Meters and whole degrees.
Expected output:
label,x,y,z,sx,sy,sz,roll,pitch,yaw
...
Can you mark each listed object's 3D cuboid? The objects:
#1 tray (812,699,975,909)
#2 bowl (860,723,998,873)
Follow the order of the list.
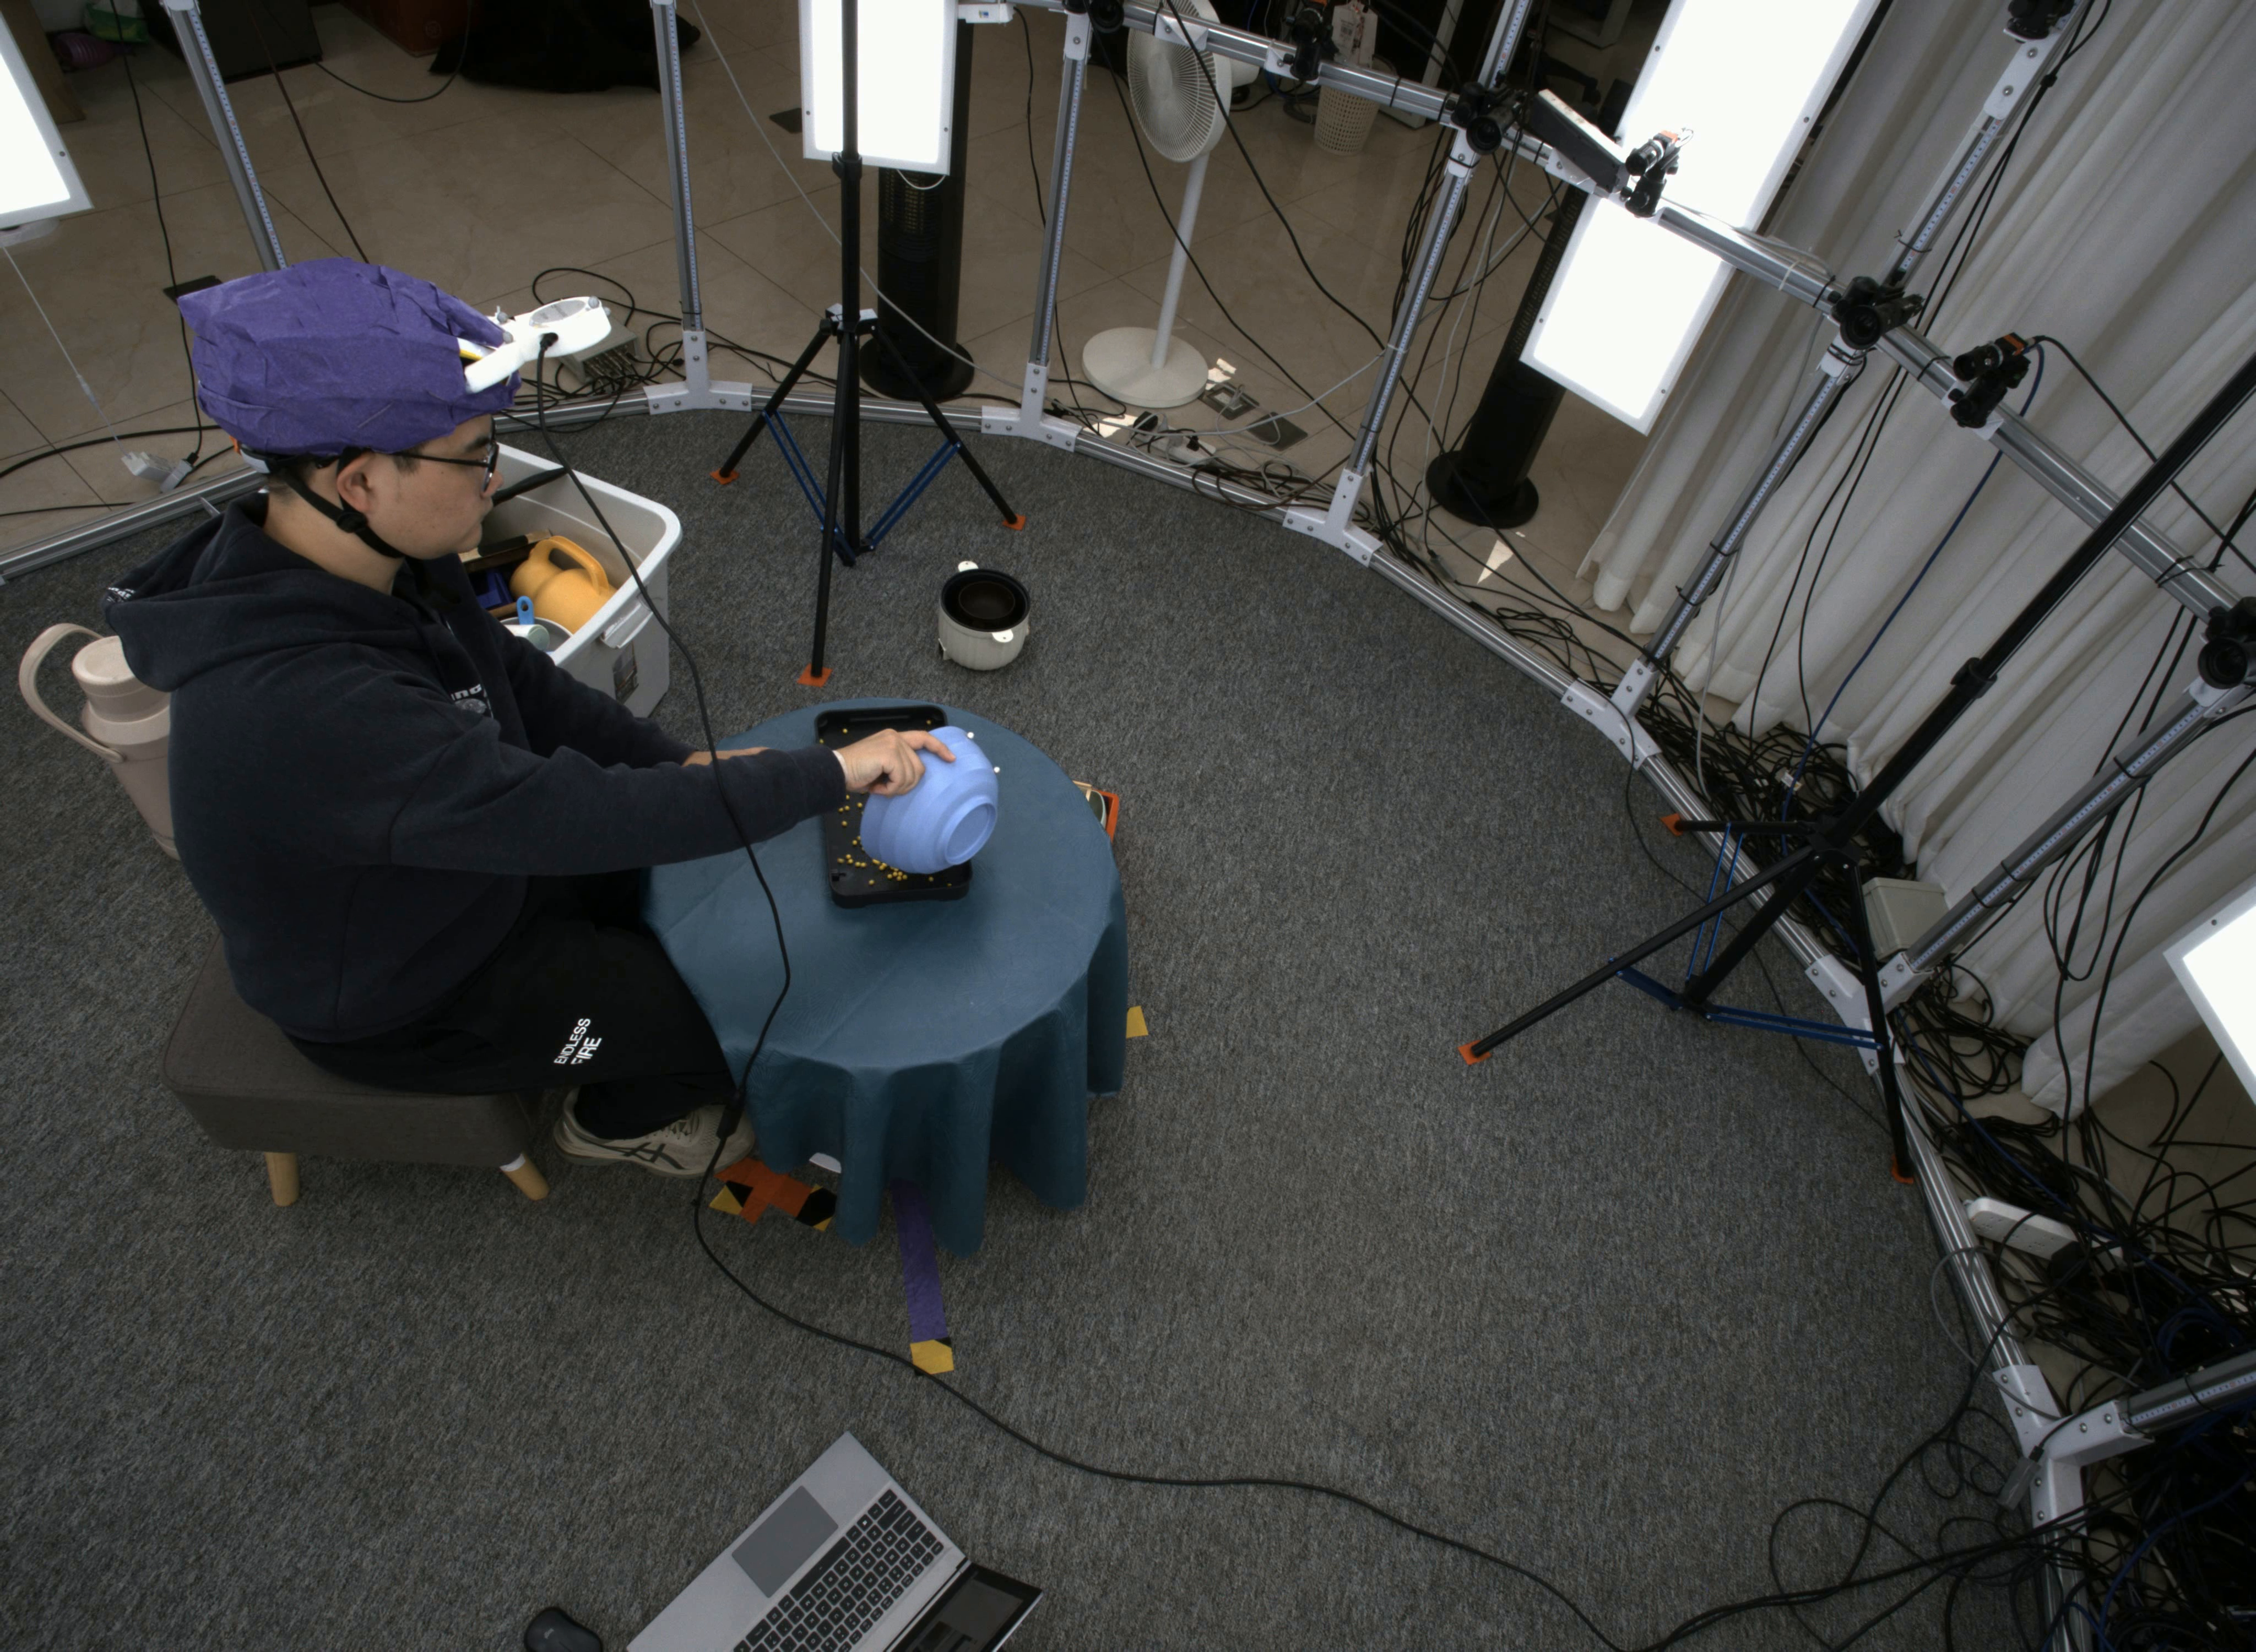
label,x,y,z,sx,sy,sz,roll,pitch,yaw
tray,-0.320,-0.037,1.752,0.185,0.038,0.311,-5,56,-17
bowl,-0.227,-0.018,1.605,0.093,0.201,0.197,35,53,21
